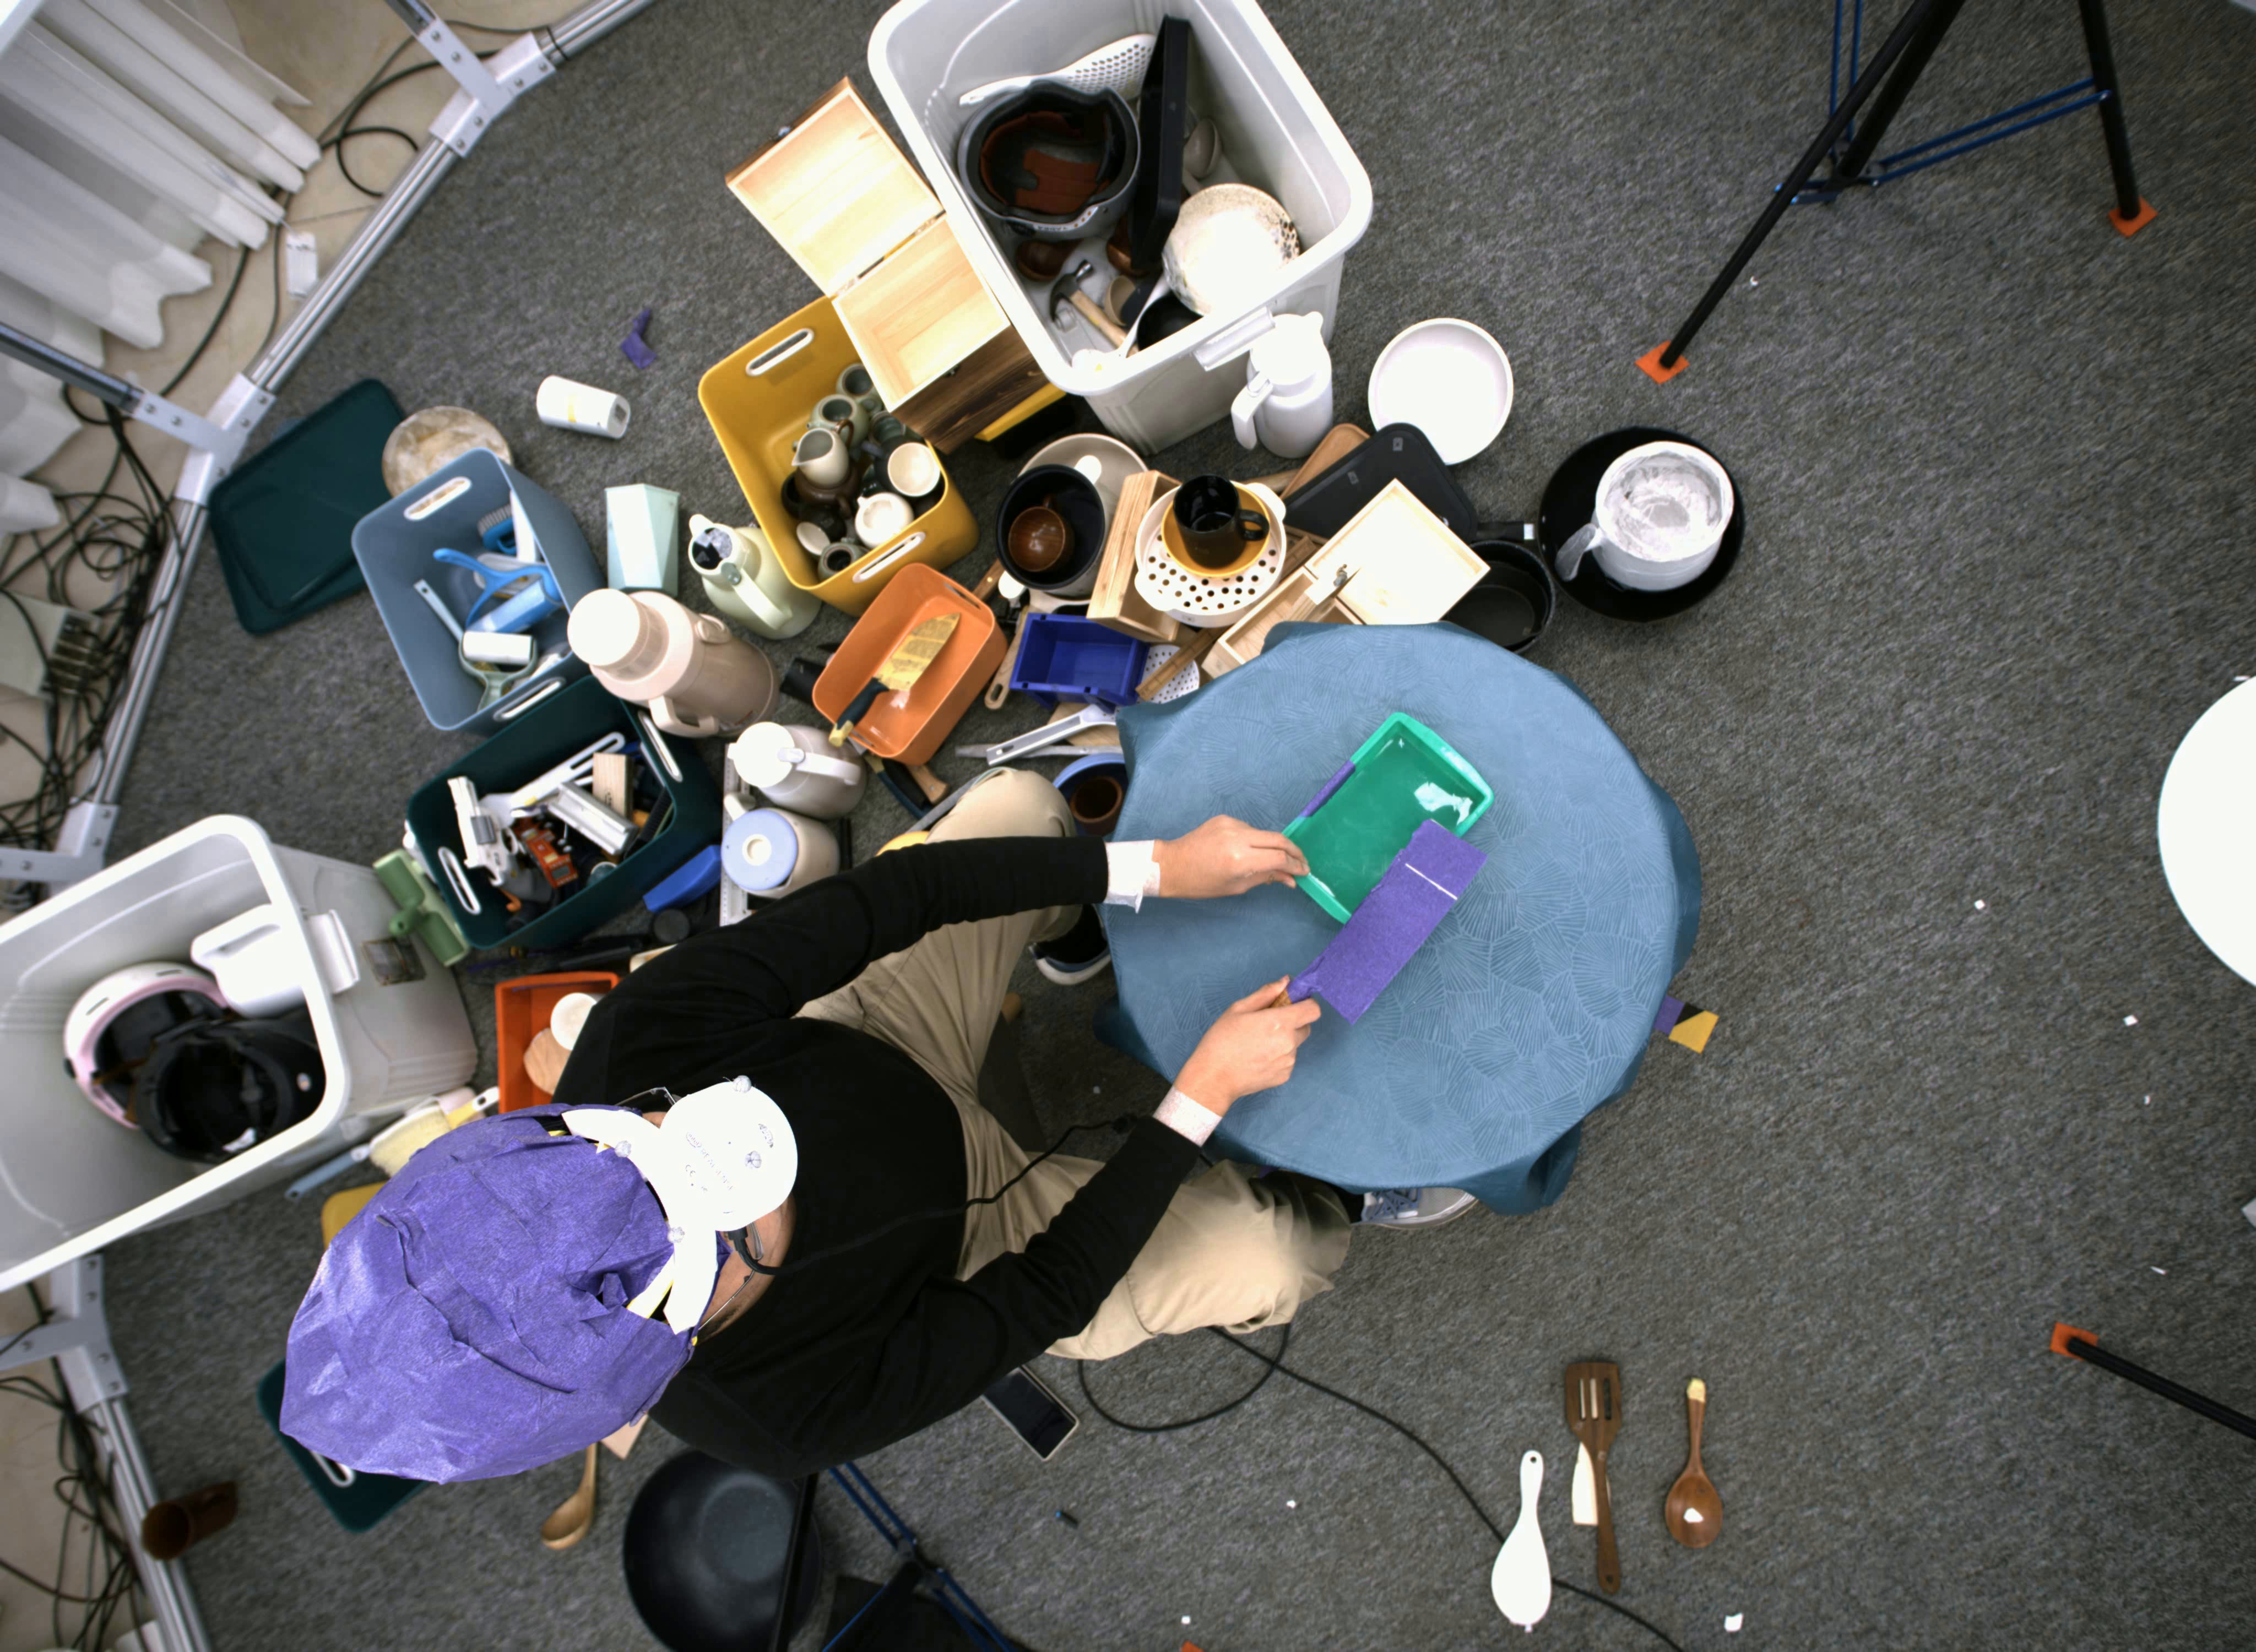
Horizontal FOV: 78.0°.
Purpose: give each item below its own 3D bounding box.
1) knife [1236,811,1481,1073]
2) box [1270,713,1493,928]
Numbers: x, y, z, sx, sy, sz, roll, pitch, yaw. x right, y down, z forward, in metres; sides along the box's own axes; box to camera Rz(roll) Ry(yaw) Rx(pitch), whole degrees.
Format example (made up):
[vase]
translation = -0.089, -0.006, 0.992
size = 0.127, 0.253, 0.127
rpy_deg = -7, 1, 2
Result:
[knife]
translation = 0.224, 0.127, 1.355
size = 0.317, 0.032, 0.102
rpy_deg = -54, 39, 8
[box]
translation = 0.263, 0.000, 1.434
size = 0.138, 0.065, 0.211
rpy_deg = 42, 96, 12
